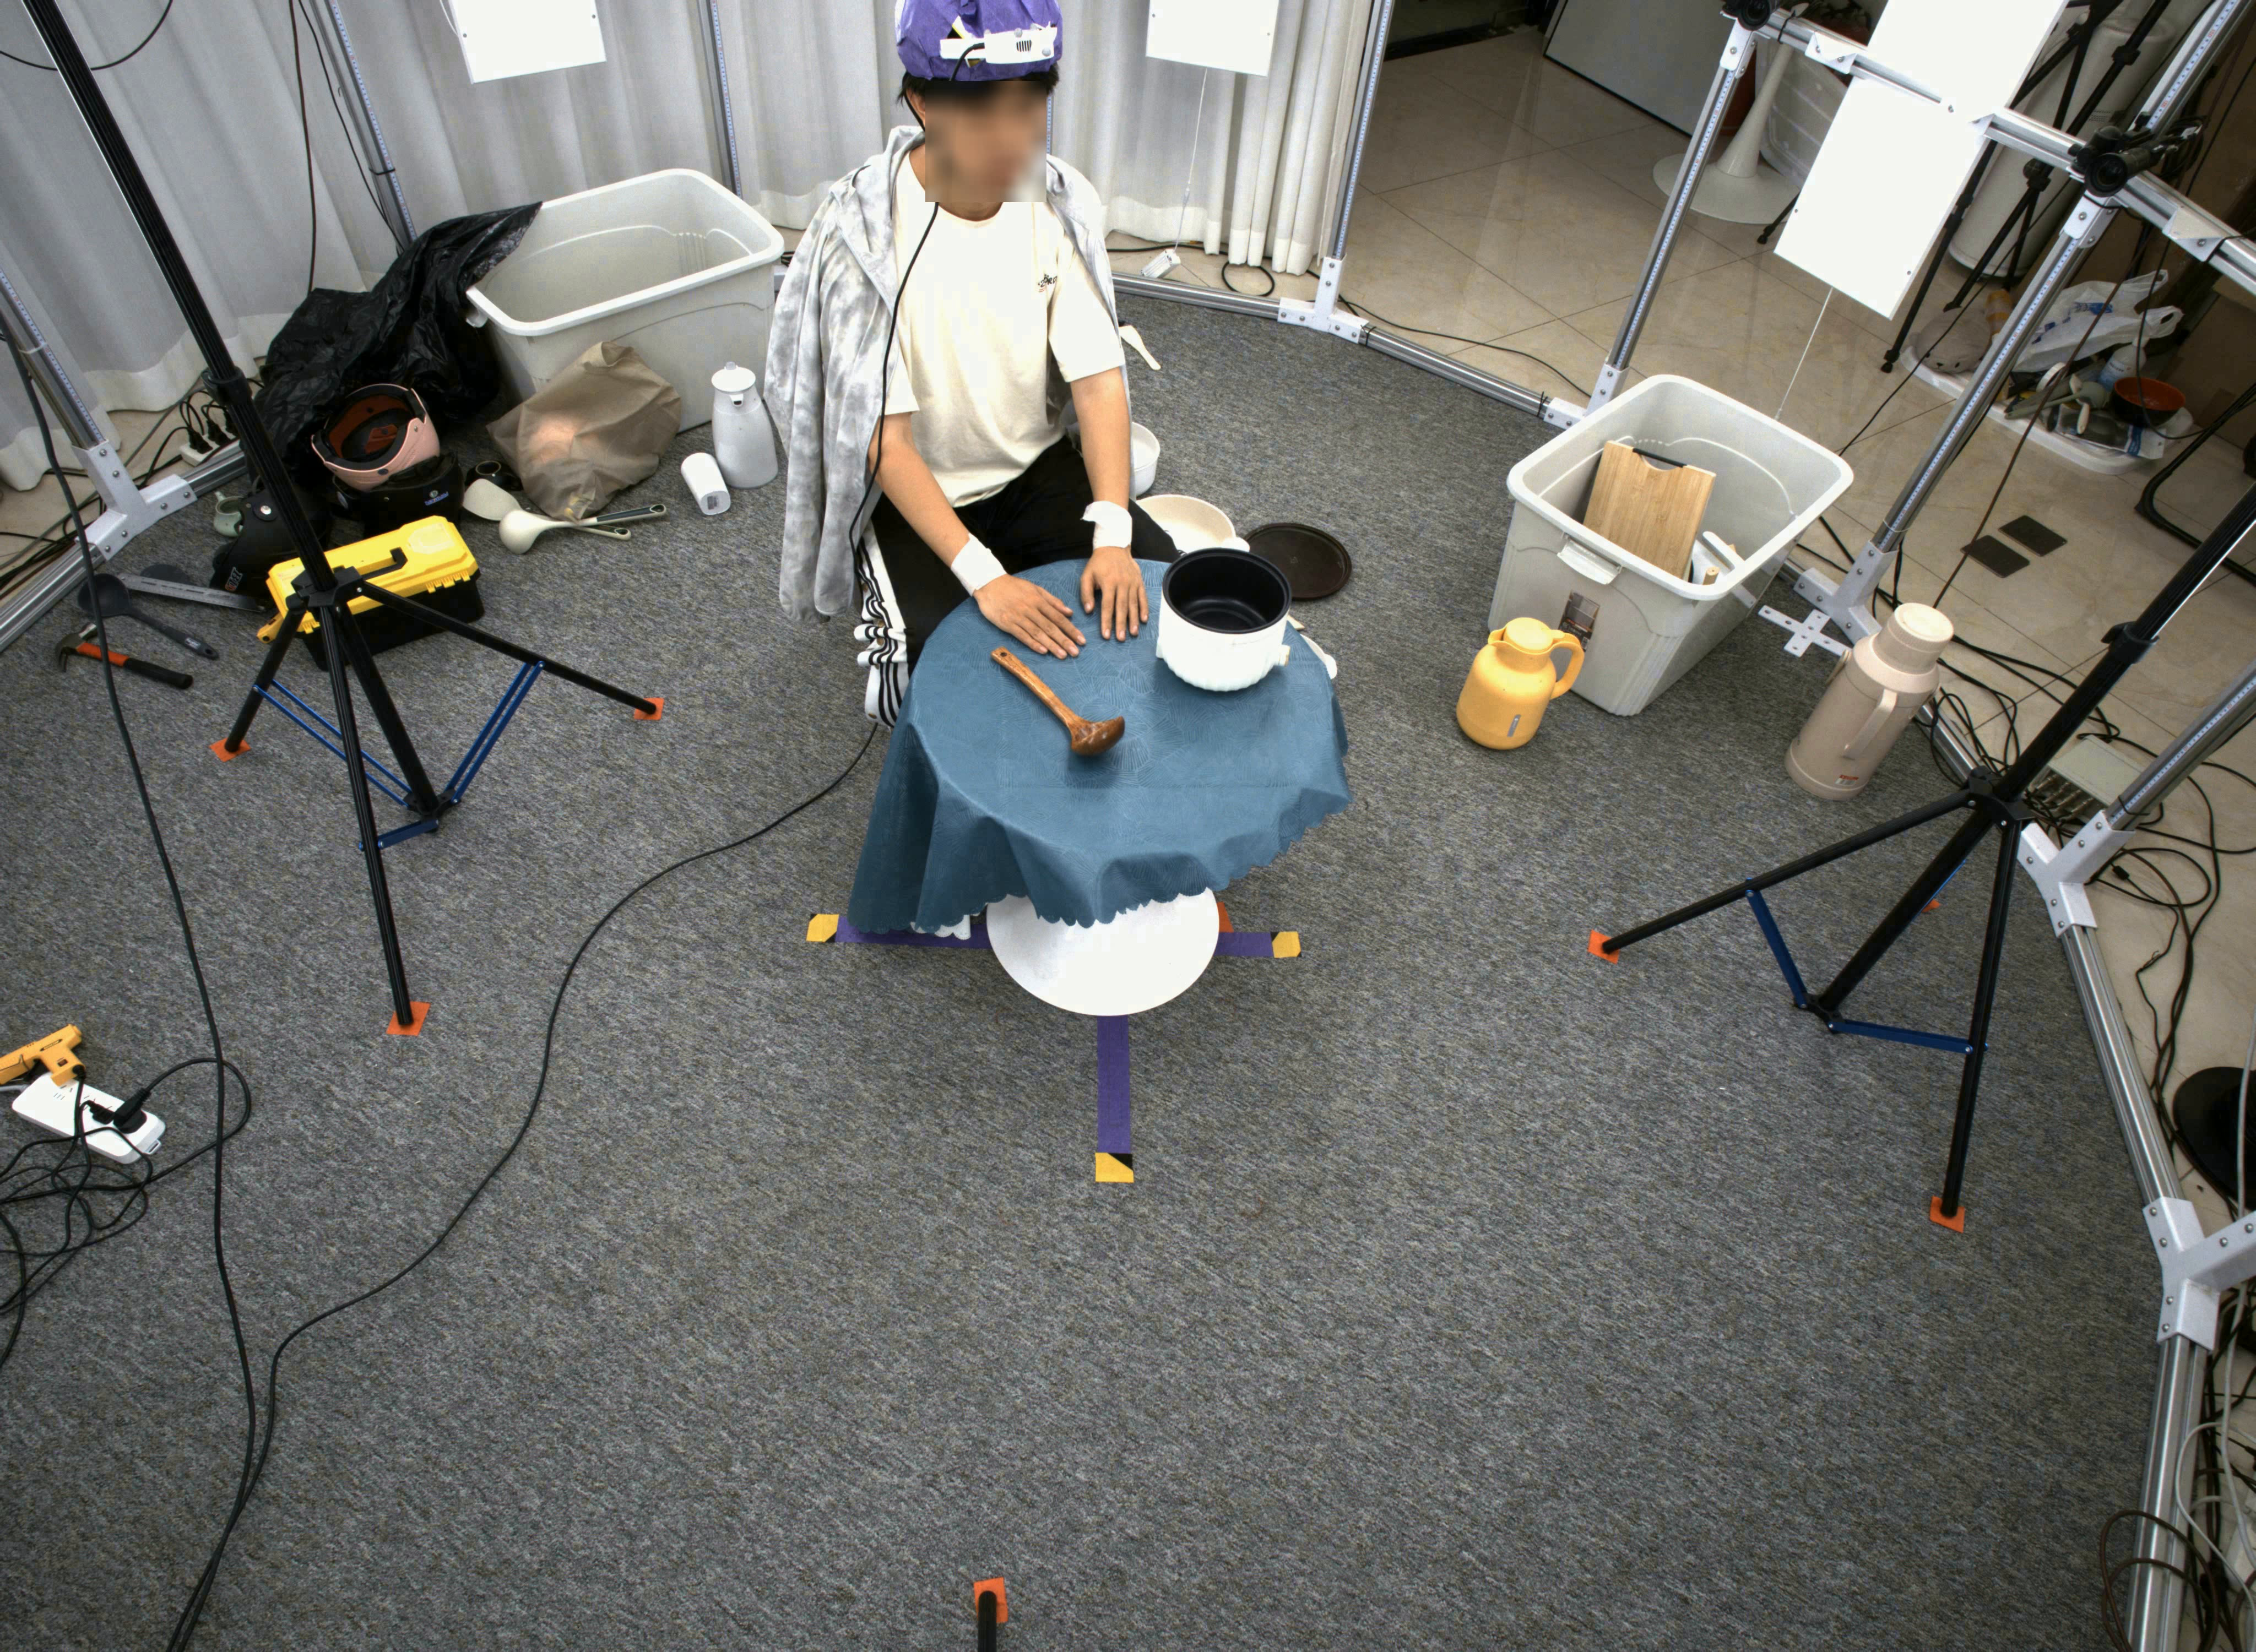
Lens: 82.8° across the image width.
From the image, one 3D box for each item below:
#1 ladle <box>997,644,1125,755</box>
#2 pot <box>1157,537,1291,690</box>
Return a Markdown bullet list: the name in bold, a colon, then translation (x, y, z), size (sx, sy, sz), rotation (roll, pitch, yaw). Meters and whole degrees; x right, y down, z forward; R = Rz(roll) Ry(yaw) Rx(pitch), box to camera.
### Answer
- **ladle**: translation (-0.104, -0.190, 1.768), size (0.082, 0.075, 0.279), rotation (-28, 56, -23)
- **pot**: translation (0.139, -0.289, 1.831), size (0.191, 0.139, 0.246), rotation (7, 49, 7)
